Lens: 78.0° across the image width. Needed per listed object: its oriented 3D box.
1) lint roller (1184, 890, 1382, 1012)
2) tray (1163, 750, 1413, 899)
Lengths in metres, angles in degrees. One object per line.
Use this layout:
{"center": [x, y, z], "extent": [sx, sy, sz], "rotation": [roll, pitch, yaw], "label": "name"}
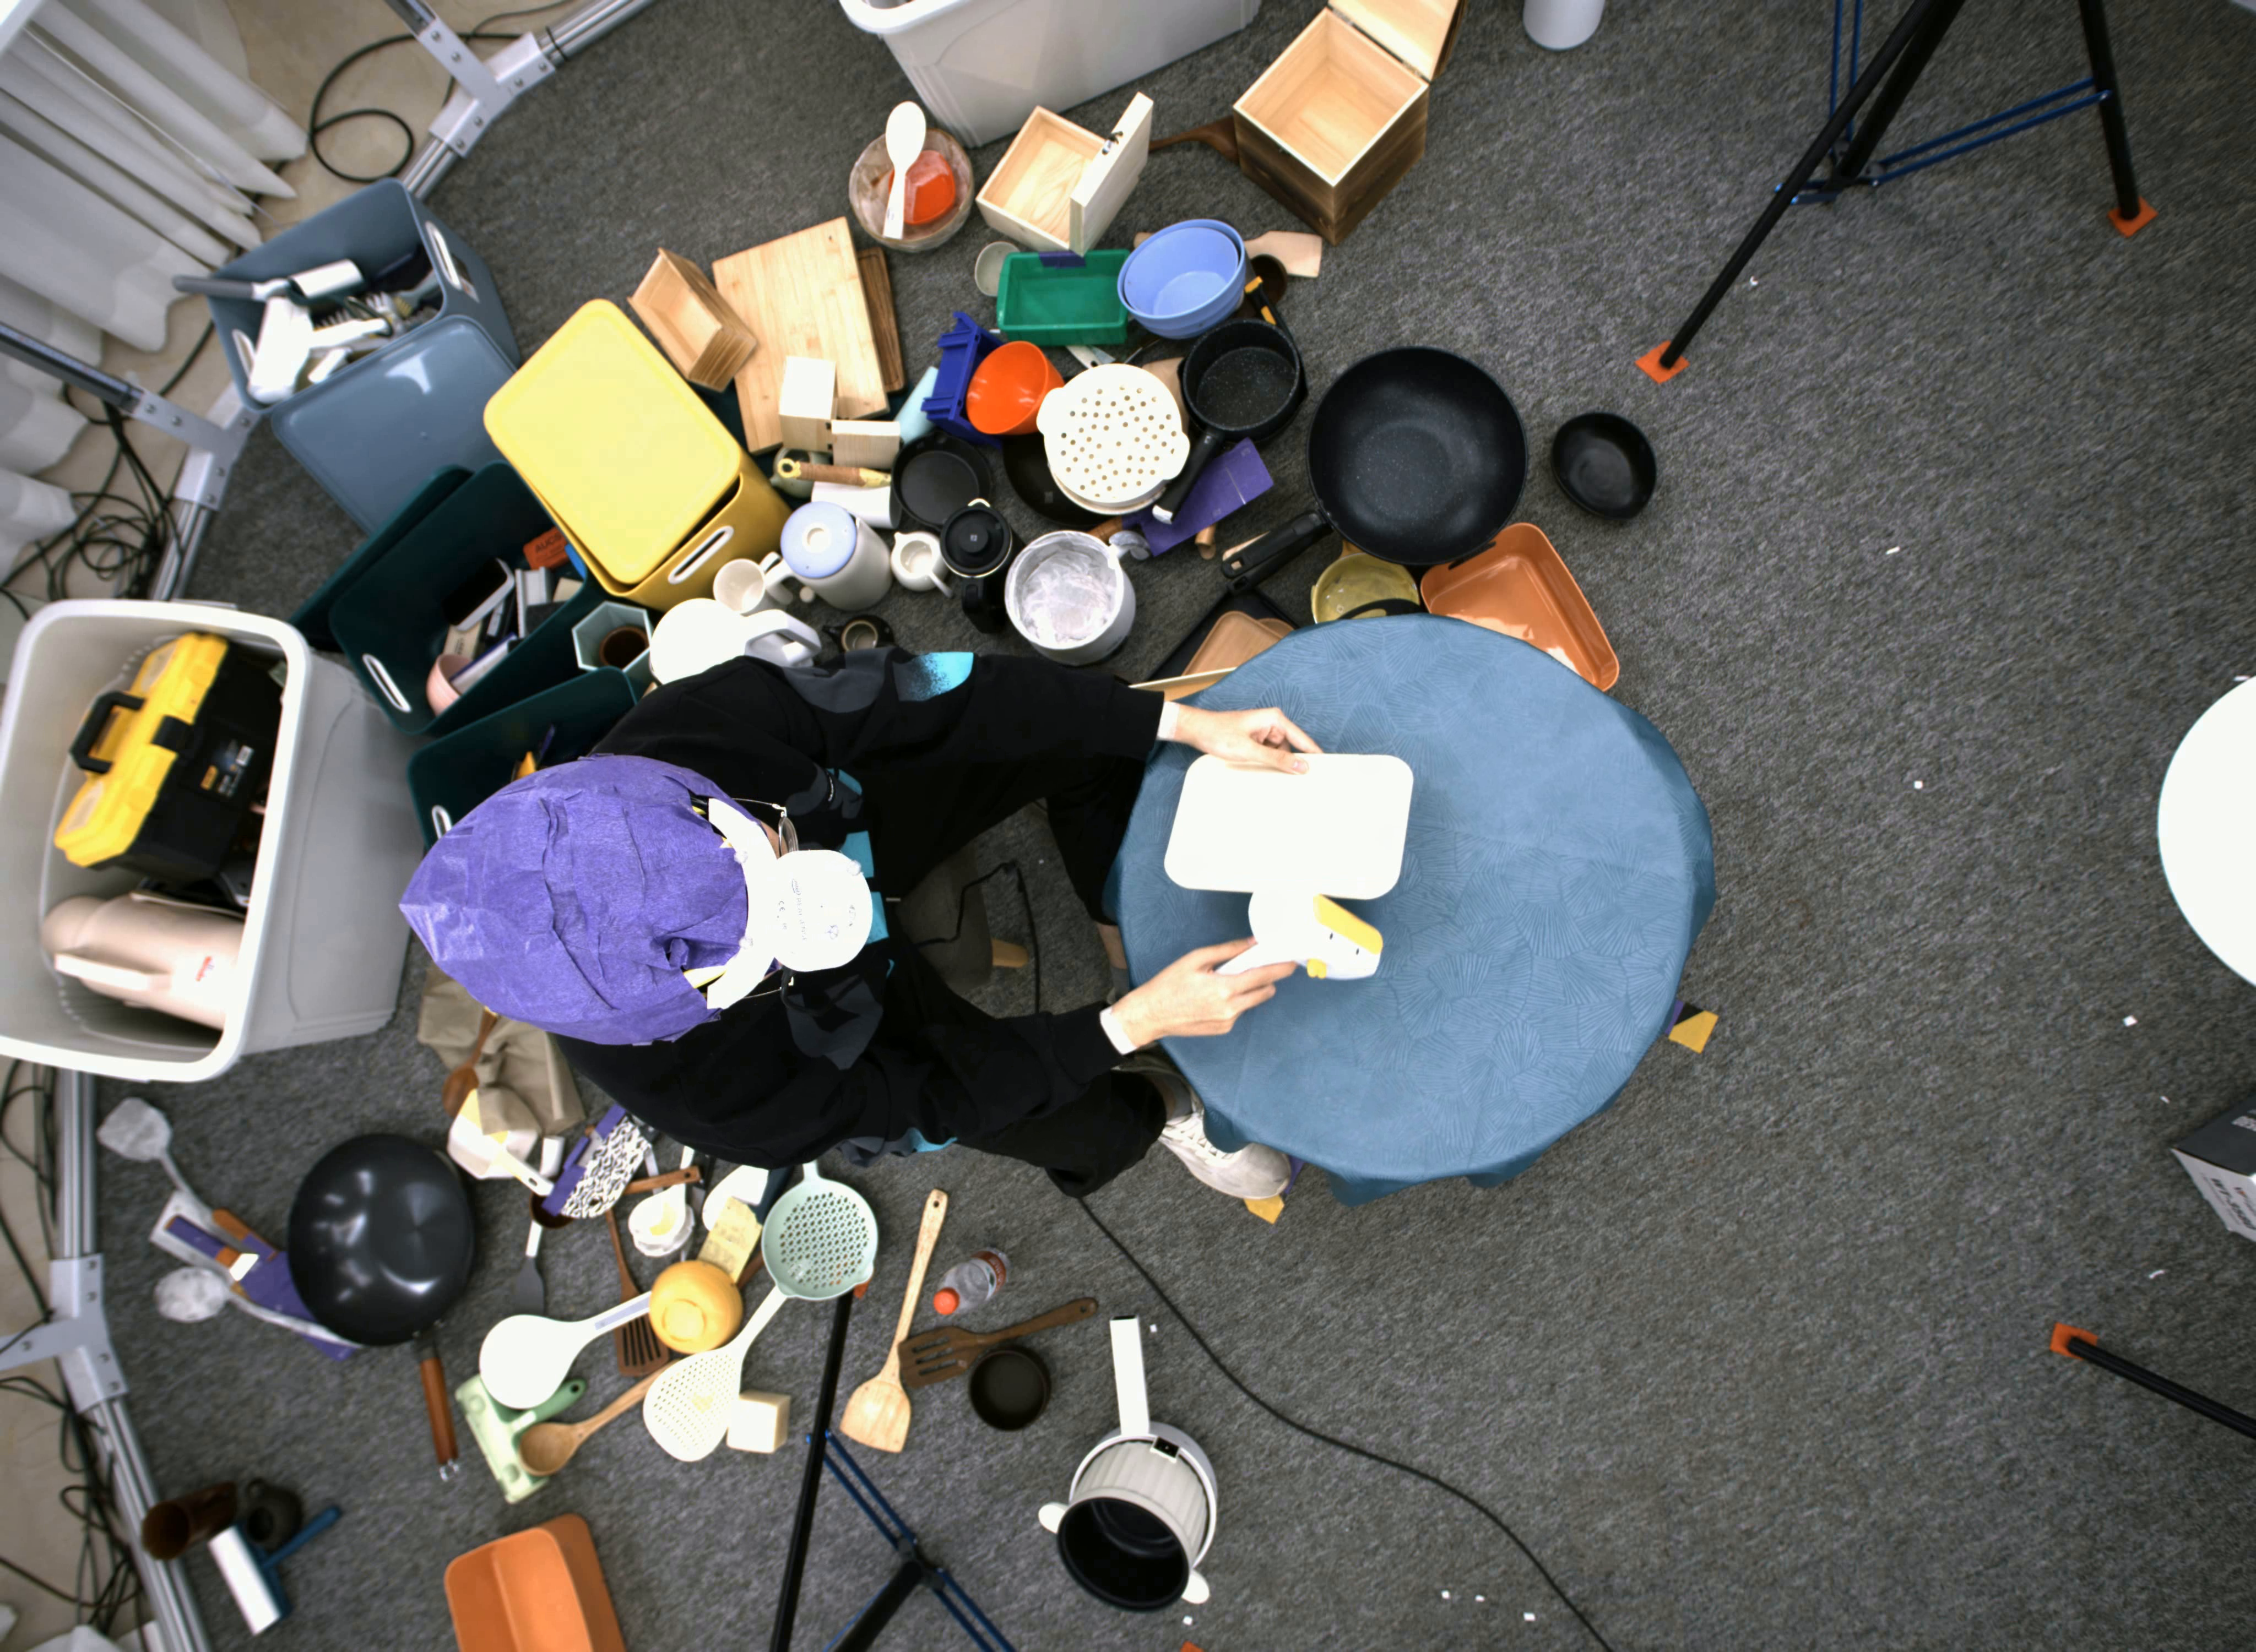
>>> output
{"center": [0.134, 0.131, 1.364], "extent": [0.195, 0.193, 0.073], "rotation": [-22, 65, 33], "label": "lint roller"}
{"center": [0.162, -0.004, 1.394], "extent": [0.241, 0.018, 0.167], "rotation": [3, 59, 21], "label": "tray"}
